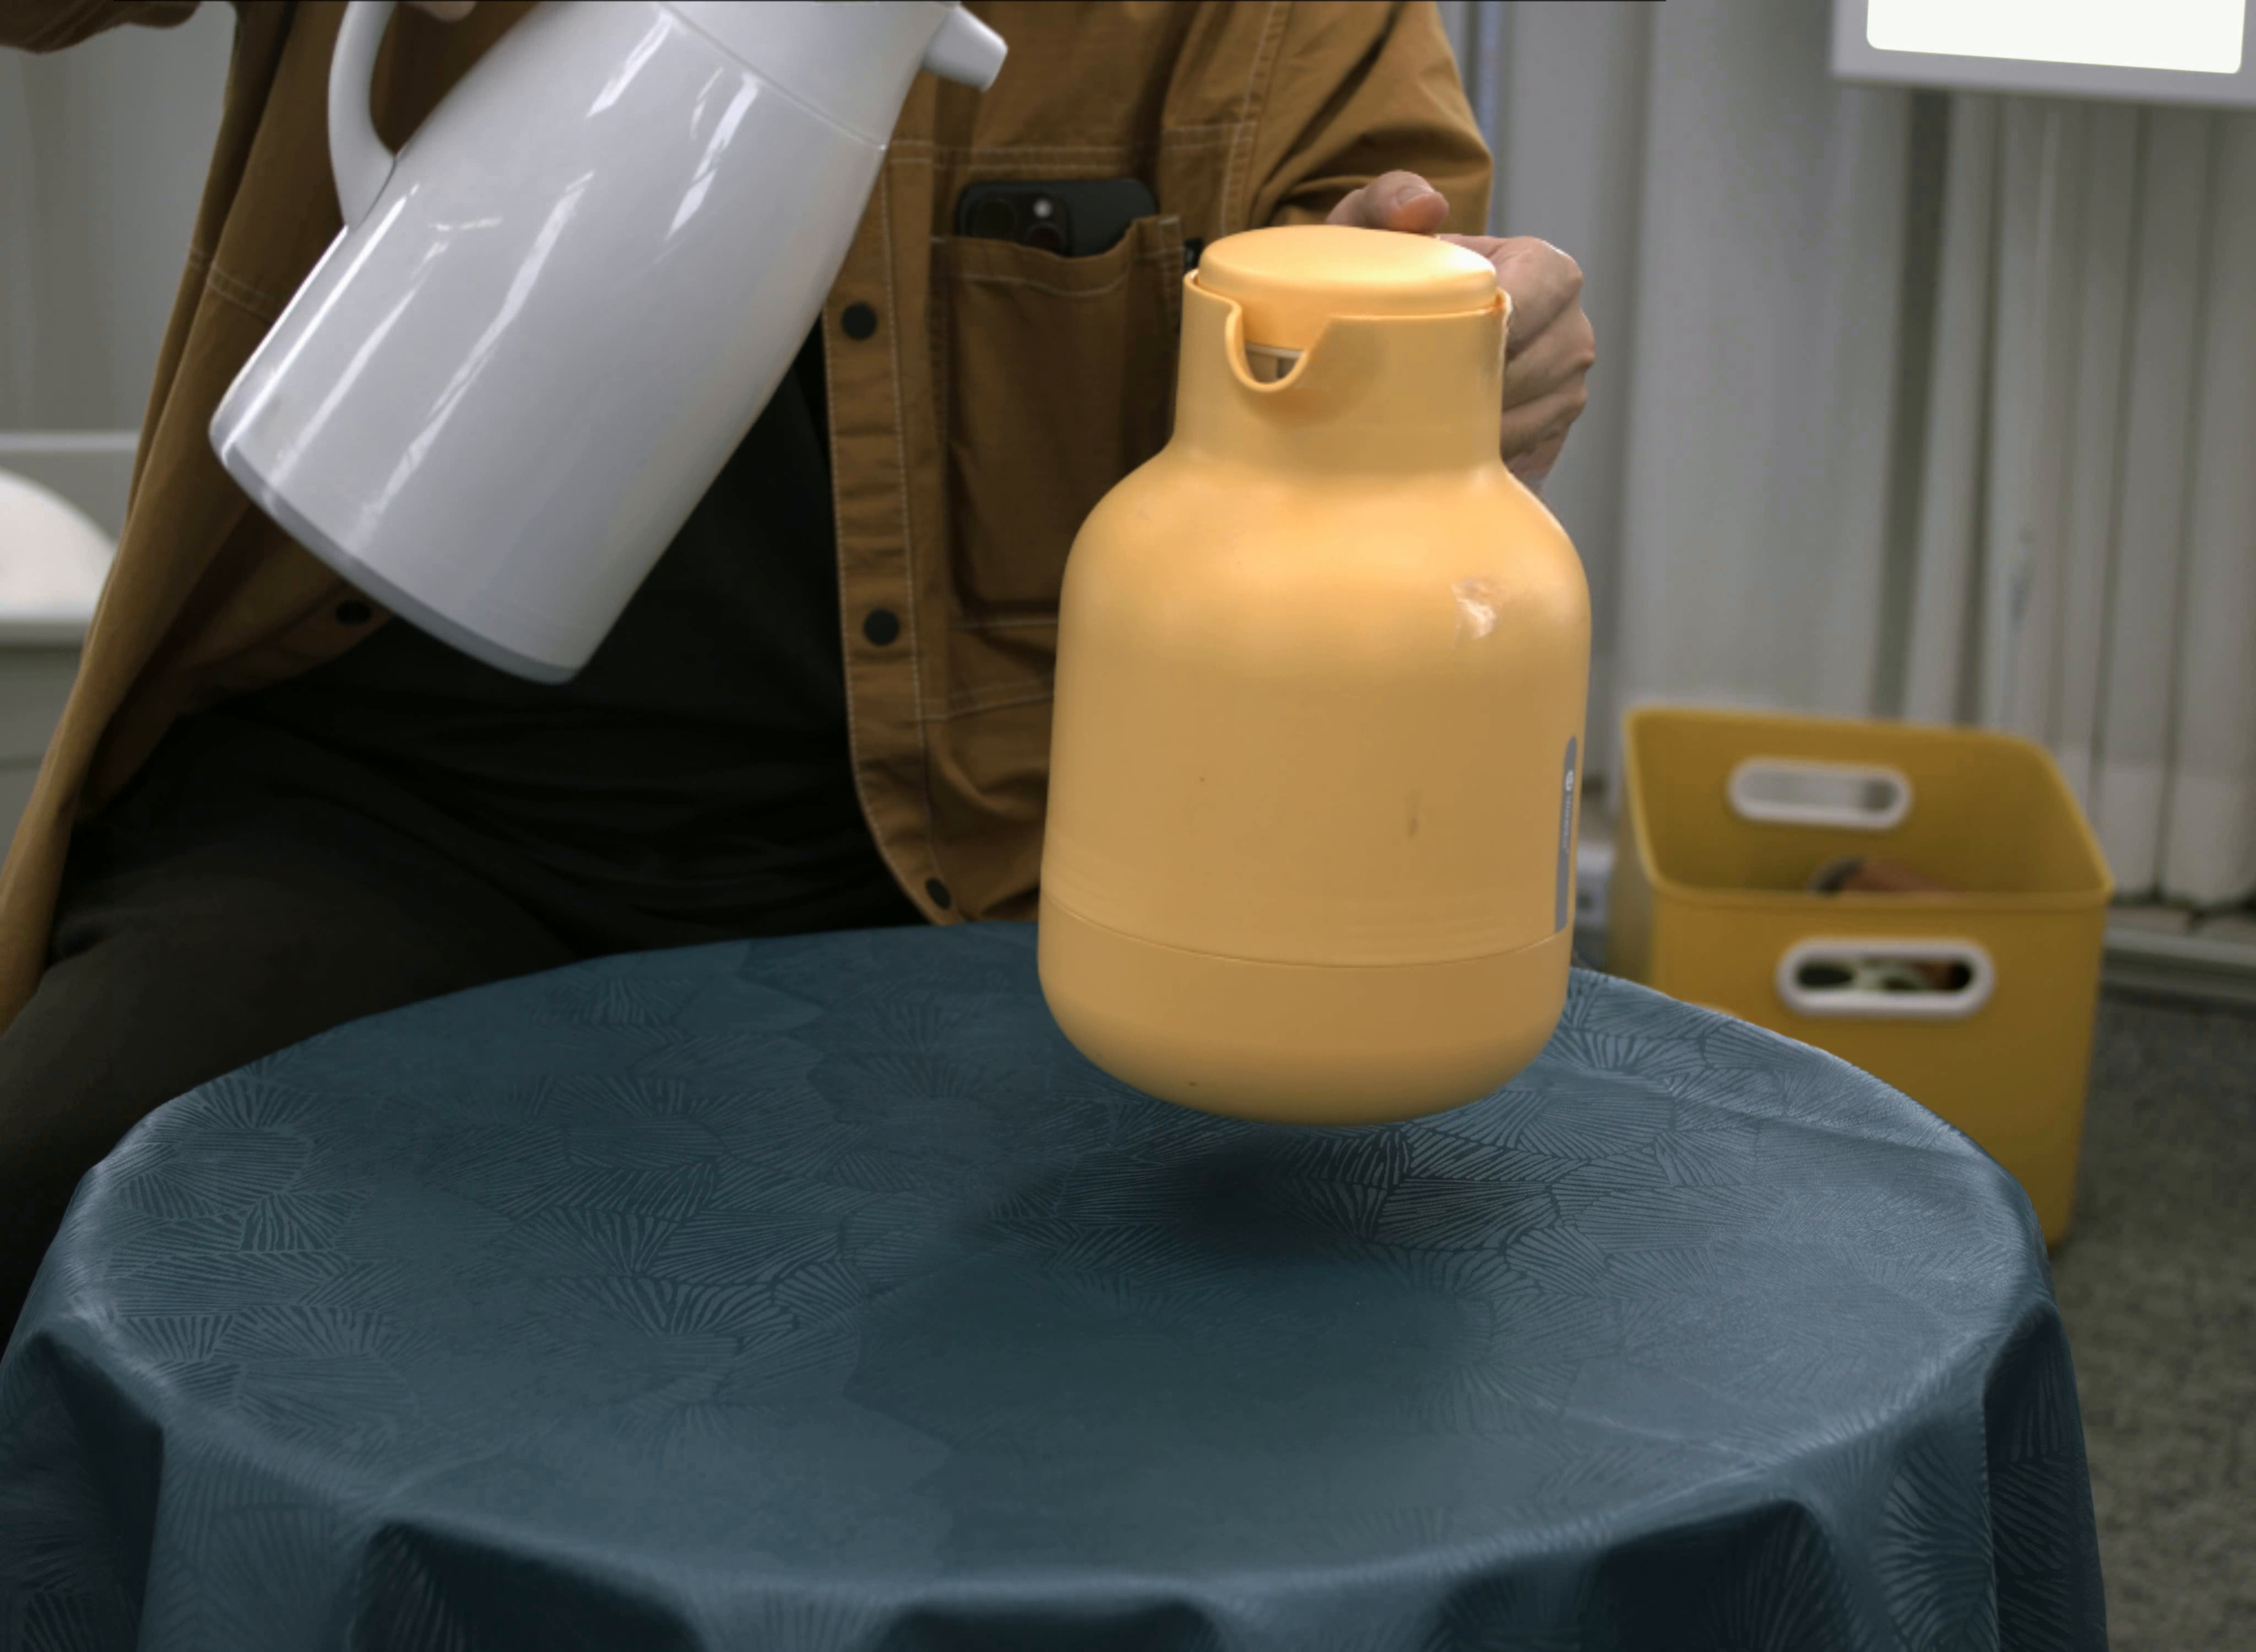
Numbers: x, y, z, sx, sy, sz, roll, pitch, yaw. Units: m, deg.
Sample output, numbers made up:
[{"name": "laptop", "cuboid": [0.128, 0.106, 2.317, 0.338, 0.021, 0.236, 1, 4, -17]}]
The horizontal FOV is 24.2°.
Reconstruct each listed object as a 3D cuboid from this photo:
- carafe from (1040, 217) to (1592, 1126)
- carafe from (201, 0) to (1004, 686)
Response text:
[{"name": "carafe", "cuboid": [0.067, -0.054, 1.596, 0.162, 0.262, 0.202, 11, 19, 20]}, {"name": "carafe", "cuboid": [-0.161, -0.187, 1.519, 0.169, 0.249, 0.131, 33, 12, -17]}]
